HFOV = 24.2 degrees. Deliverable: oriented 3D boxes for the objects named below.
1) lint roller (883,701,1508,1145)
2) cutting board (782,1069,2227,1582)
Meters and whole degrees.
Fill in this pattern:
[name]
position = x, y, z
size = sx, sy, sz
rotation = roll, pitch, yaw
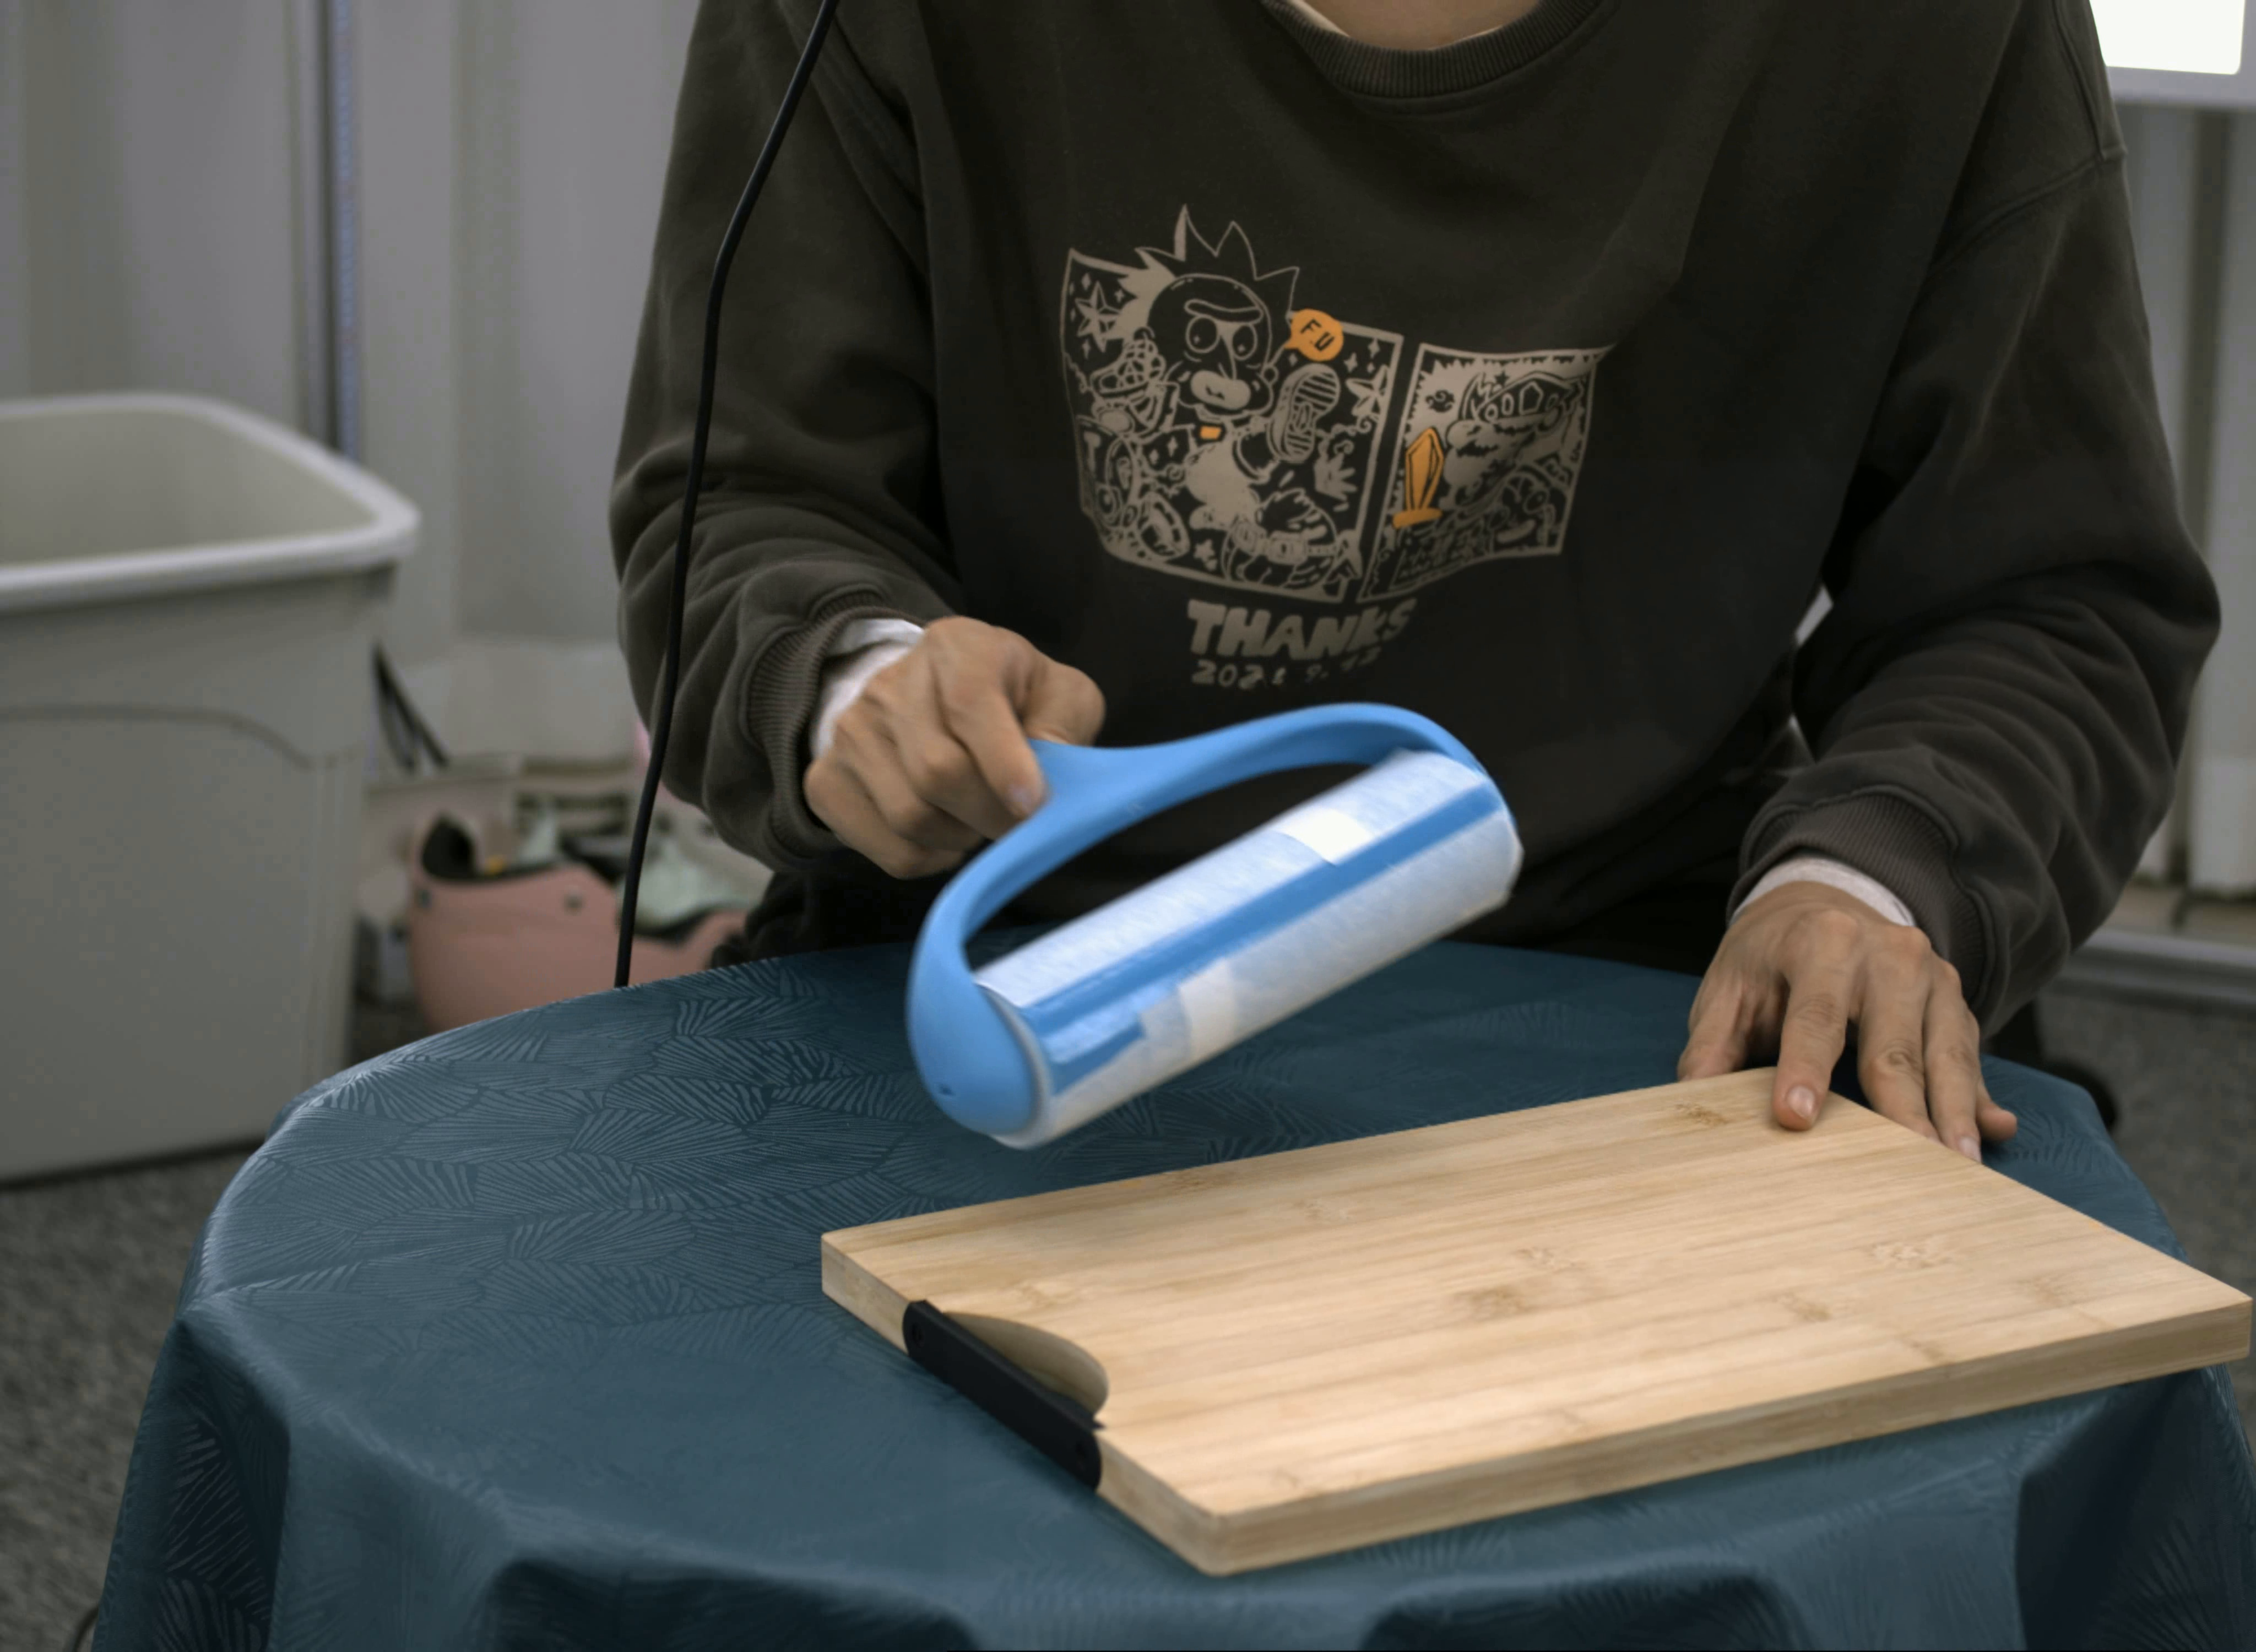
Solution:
[lint roller]
position = -0.014, 0.007, 1.614
size = 0.229, 0.069, 0.178
rotation = -29, 46, -36
[cutting board]
position = 0.108, 0.136, 1.519
size = 0.350, 0.024, 0.247
rotation = -8, 17, -28
